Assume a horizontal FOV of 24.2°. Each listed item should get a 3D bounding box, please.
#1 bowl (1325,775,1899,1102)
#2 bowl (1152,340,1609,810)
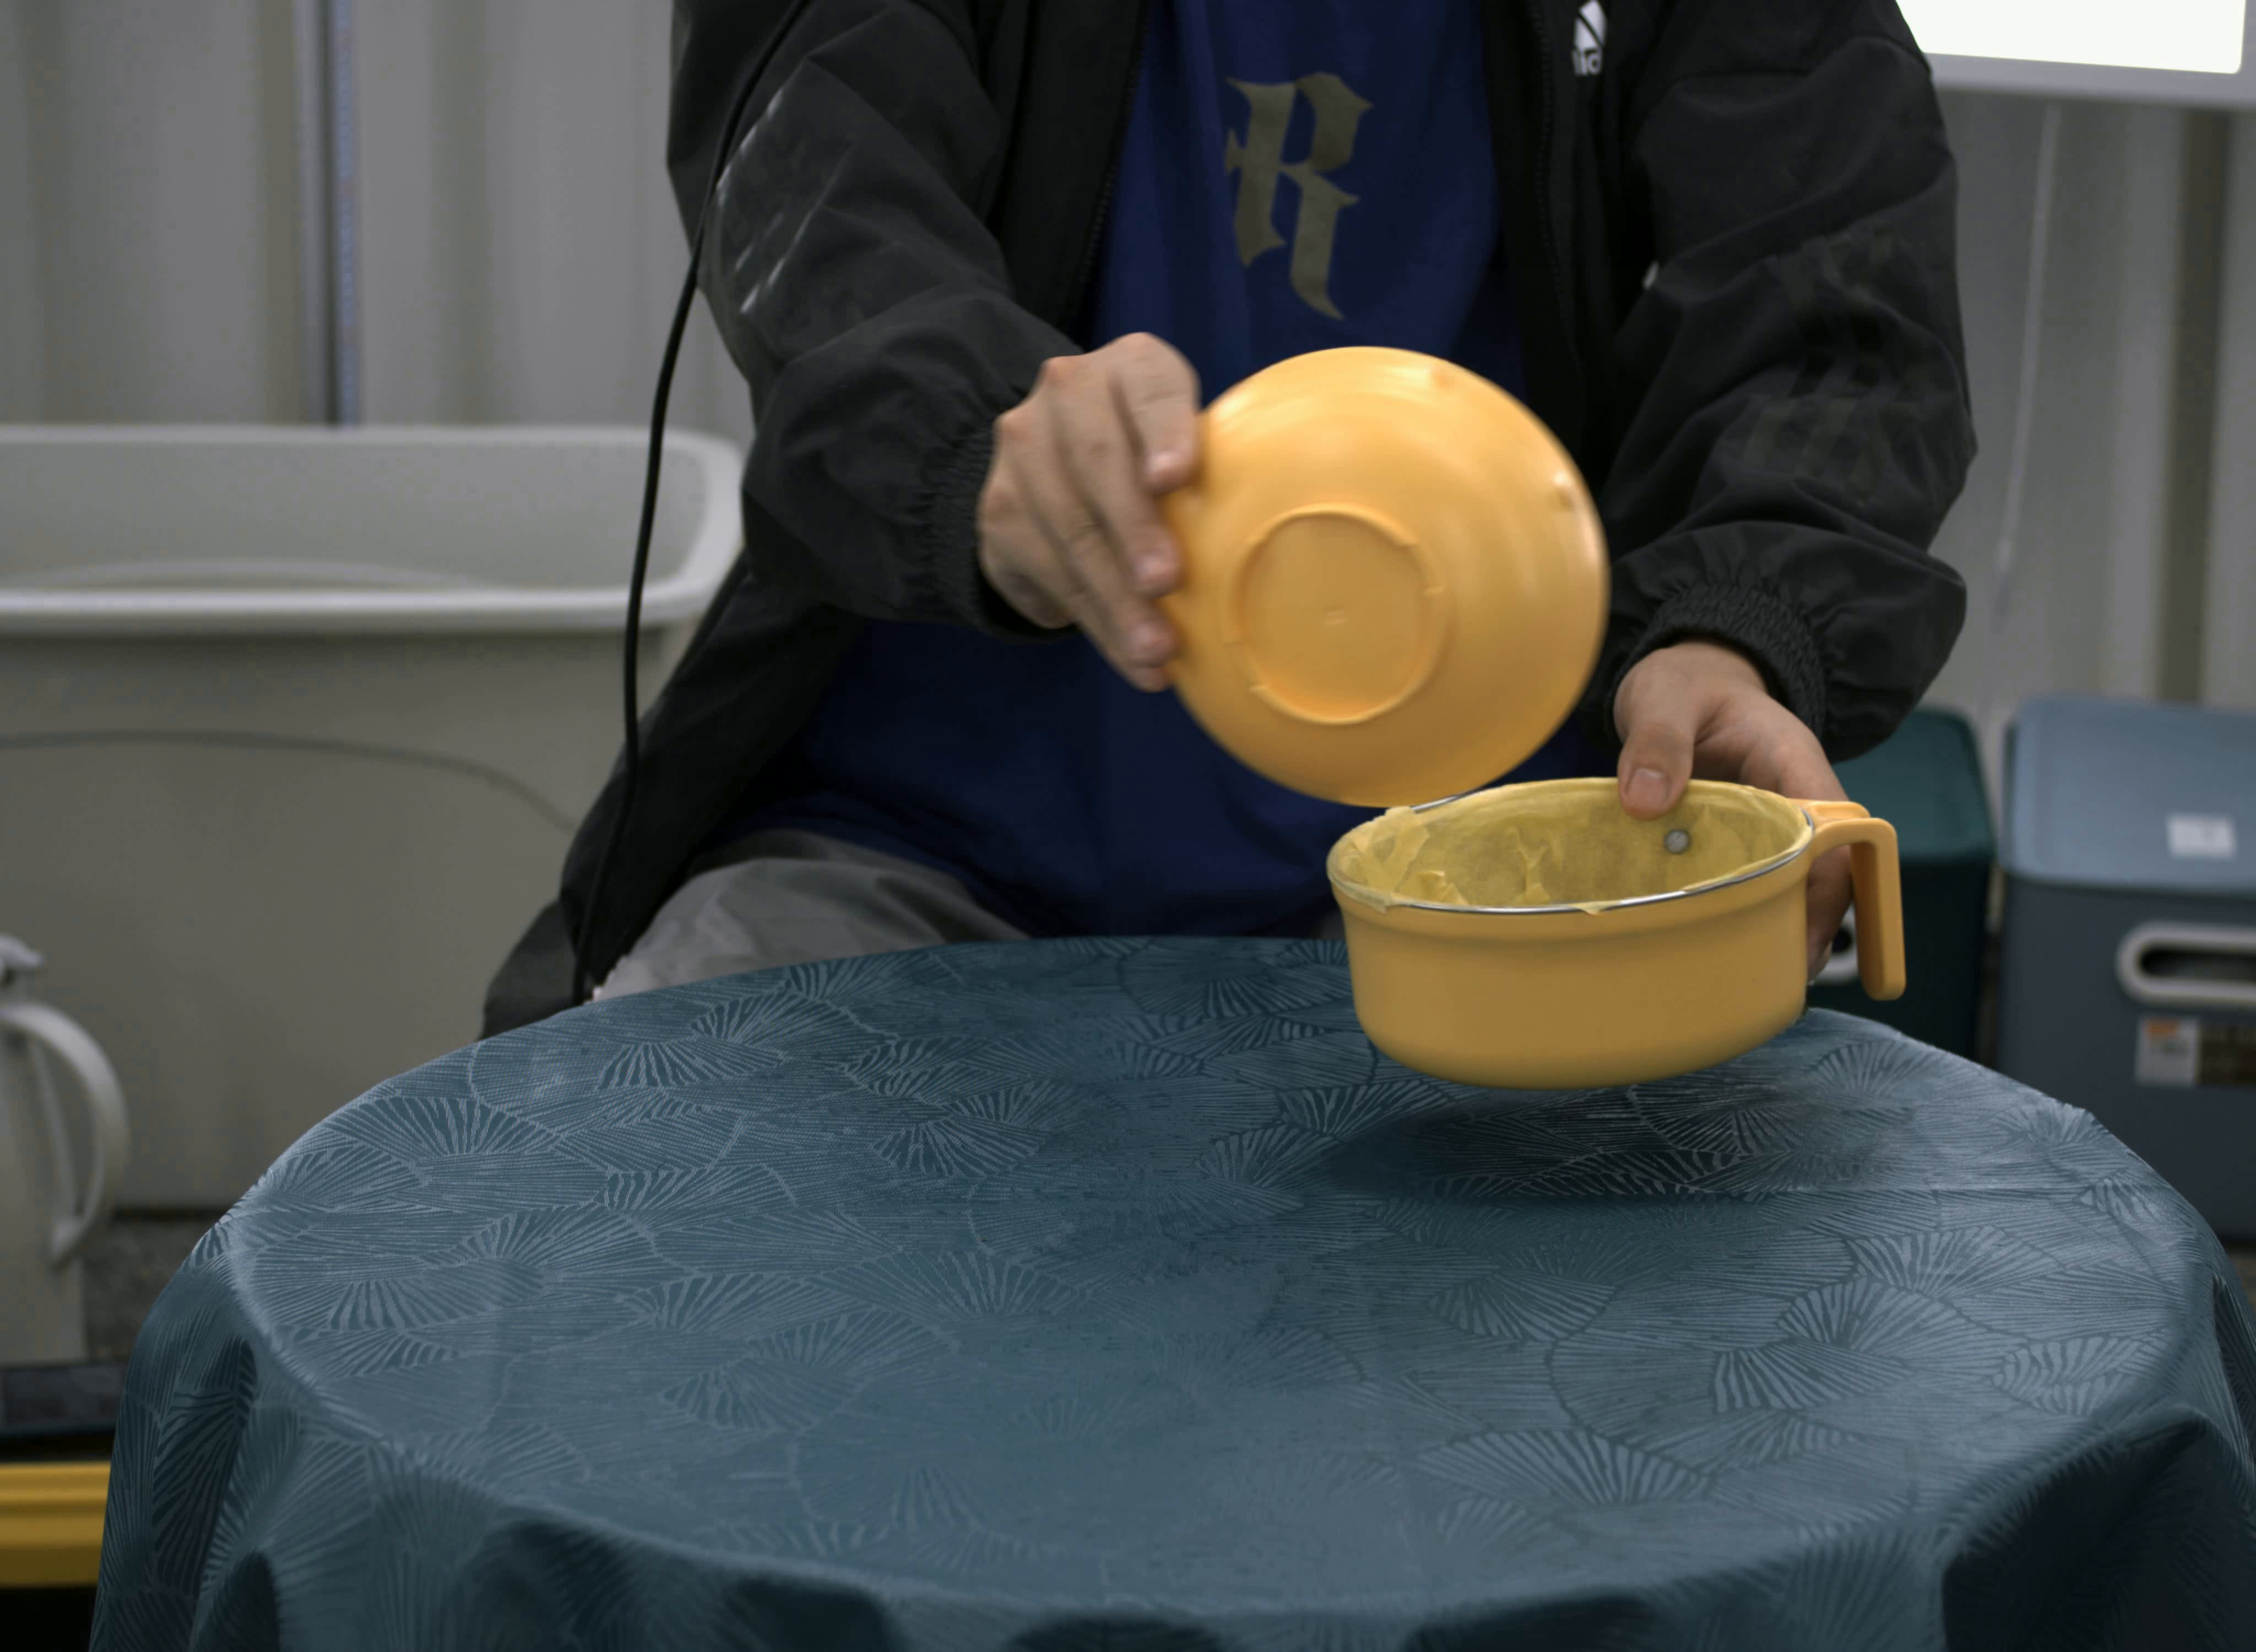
[{"bbox_3d":[0.153,0.035,1.648,0.179,0.075,0.151,-10,14,-15],"label":"bowl"},{"bbox_3d":[0.069,-0.071,1.585,0.144,0.146,0.060,5,13,13],"label":"bowl"}]
